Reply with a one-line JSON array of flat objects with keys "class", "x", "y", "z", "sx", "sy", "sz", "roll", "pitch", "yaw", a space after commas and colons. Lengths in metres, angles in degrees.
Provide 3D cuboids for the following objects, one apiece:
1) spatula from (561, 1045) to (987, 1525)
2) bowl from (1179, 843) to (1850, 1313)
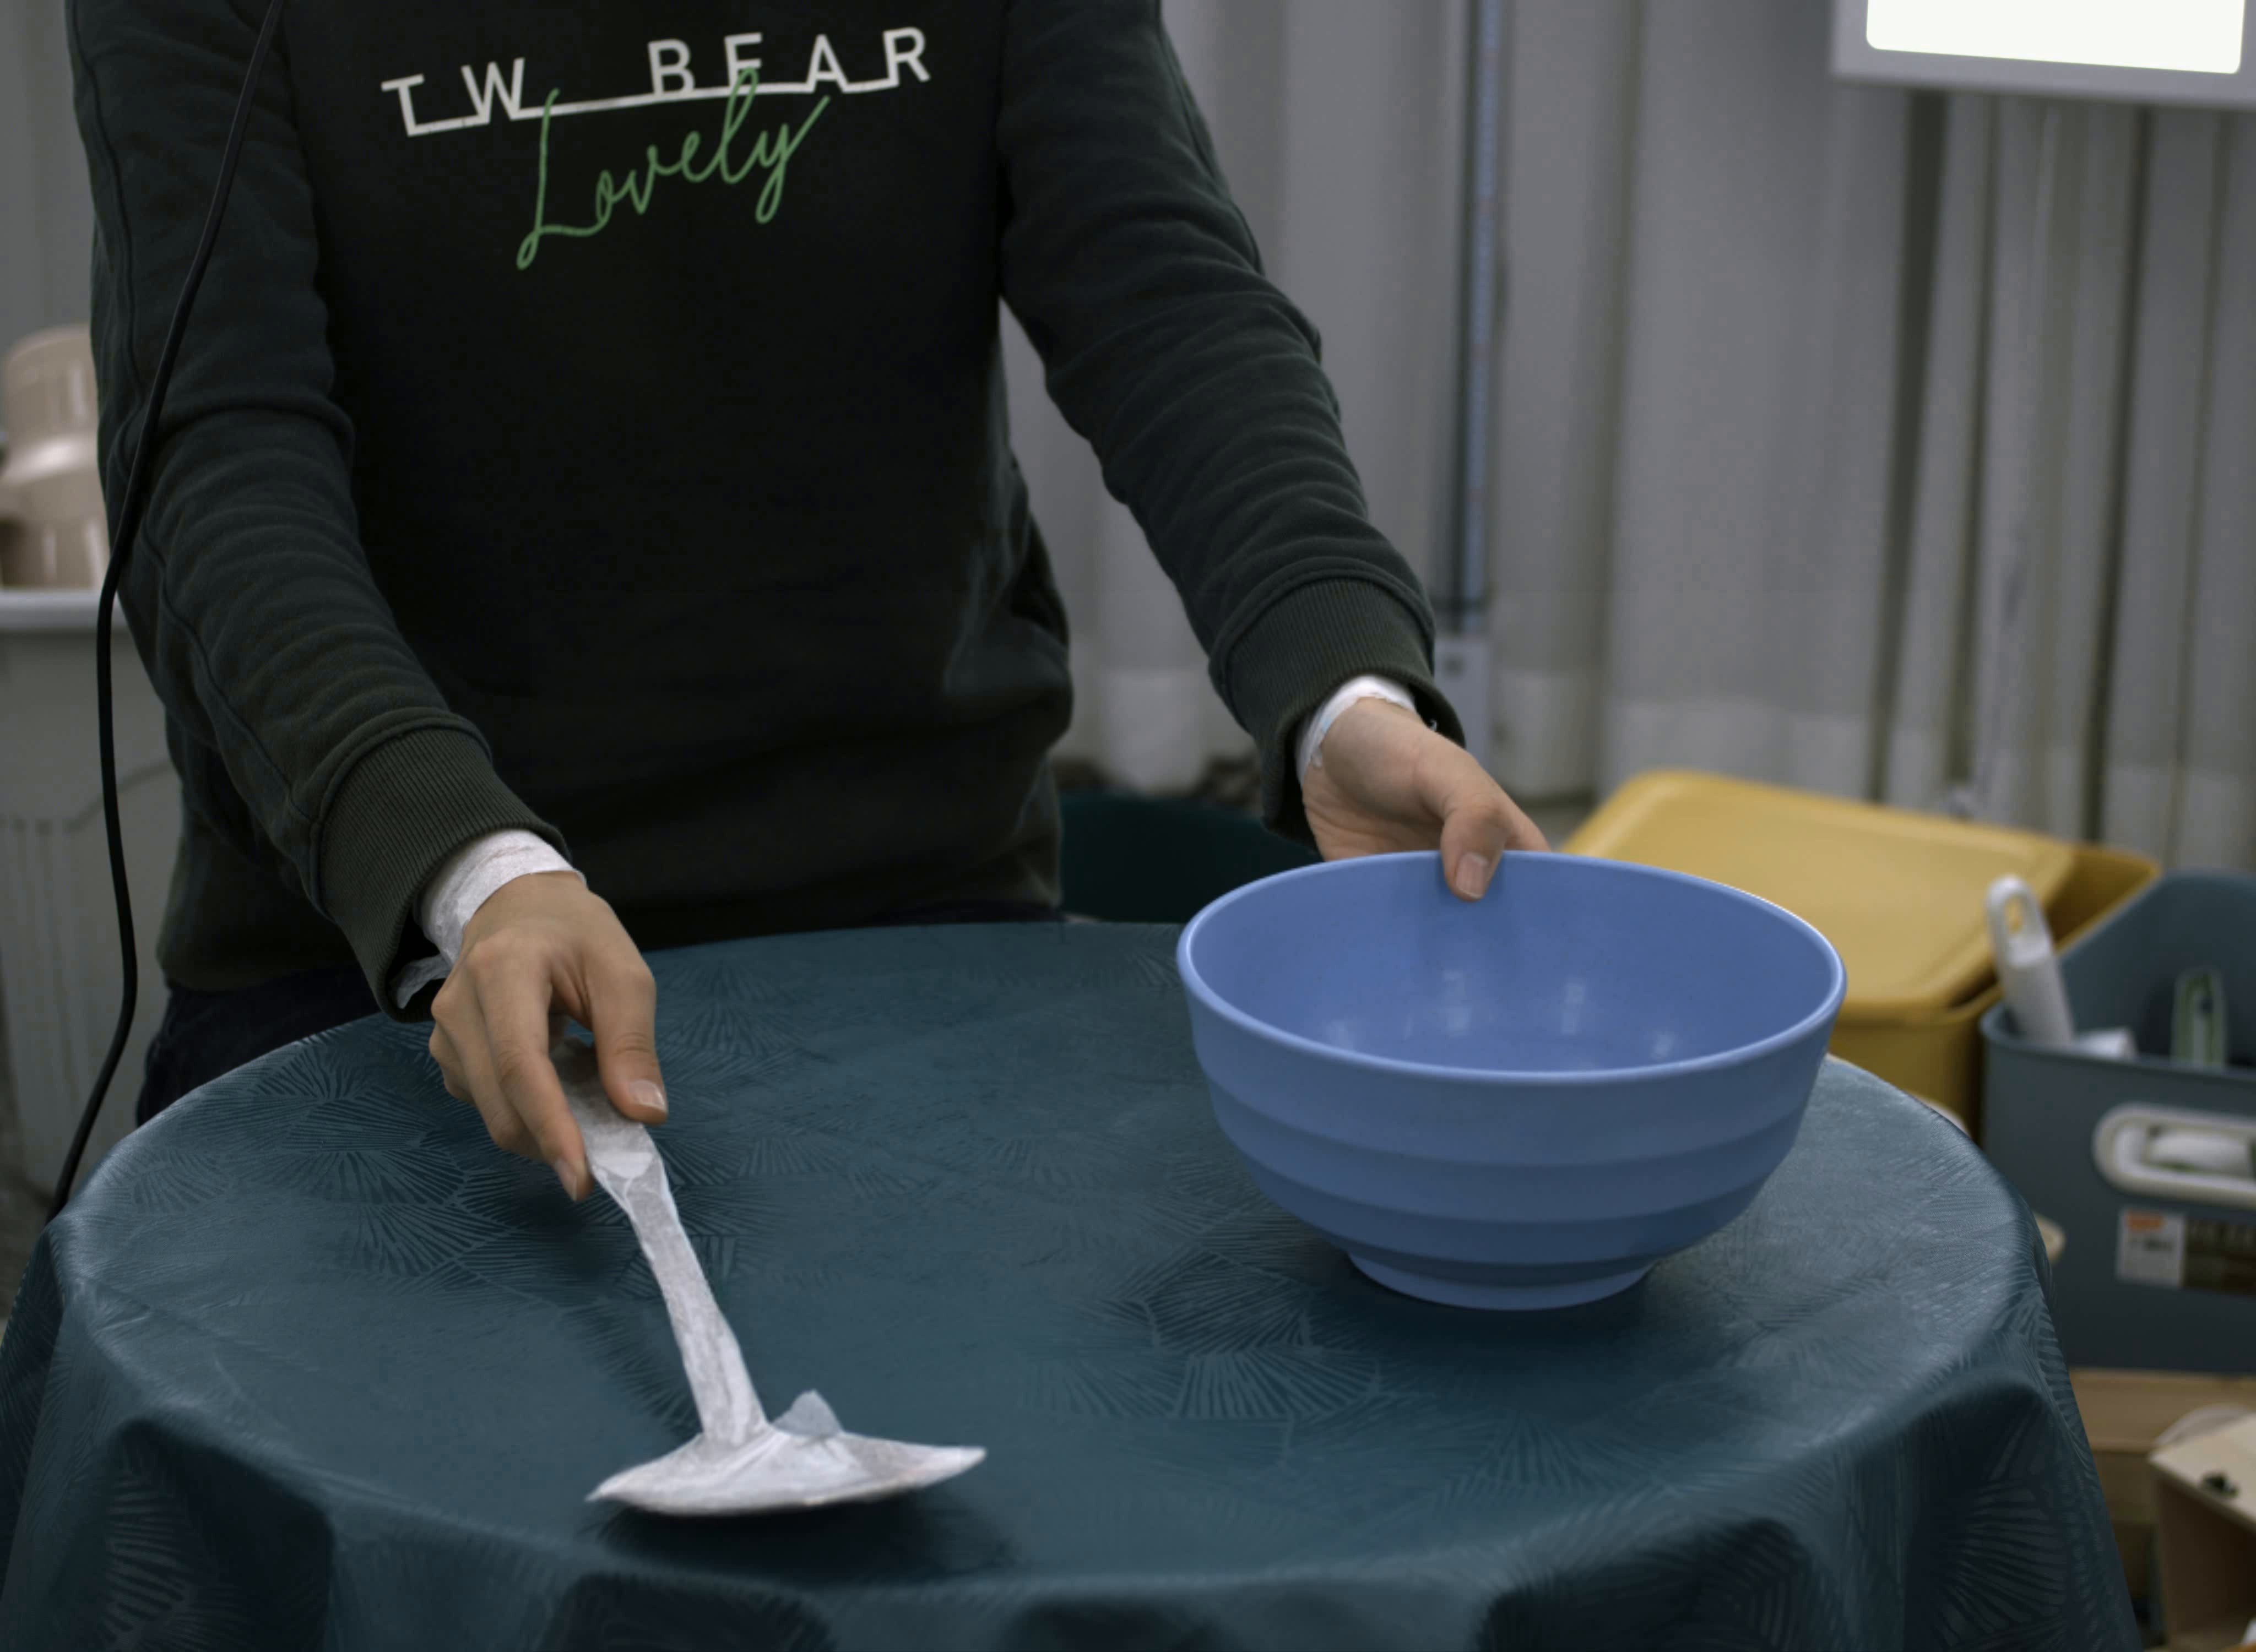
[{"class": "spatula", "x": -0.124, "y": 0.120, "z": 1.481, "sx": 0.099, "sy": 0.045, "sz": 0.361, "roll": -7, "pitch": 24, "yaw": -14}, {"class": "bowl", "x": 0.112, "y": 0.082, "z": 1.556, "sx": 0.196, "sy": 0.096, "sz": 0.195, "roll": 2, "pitch": 20, "yaw": 0}]
